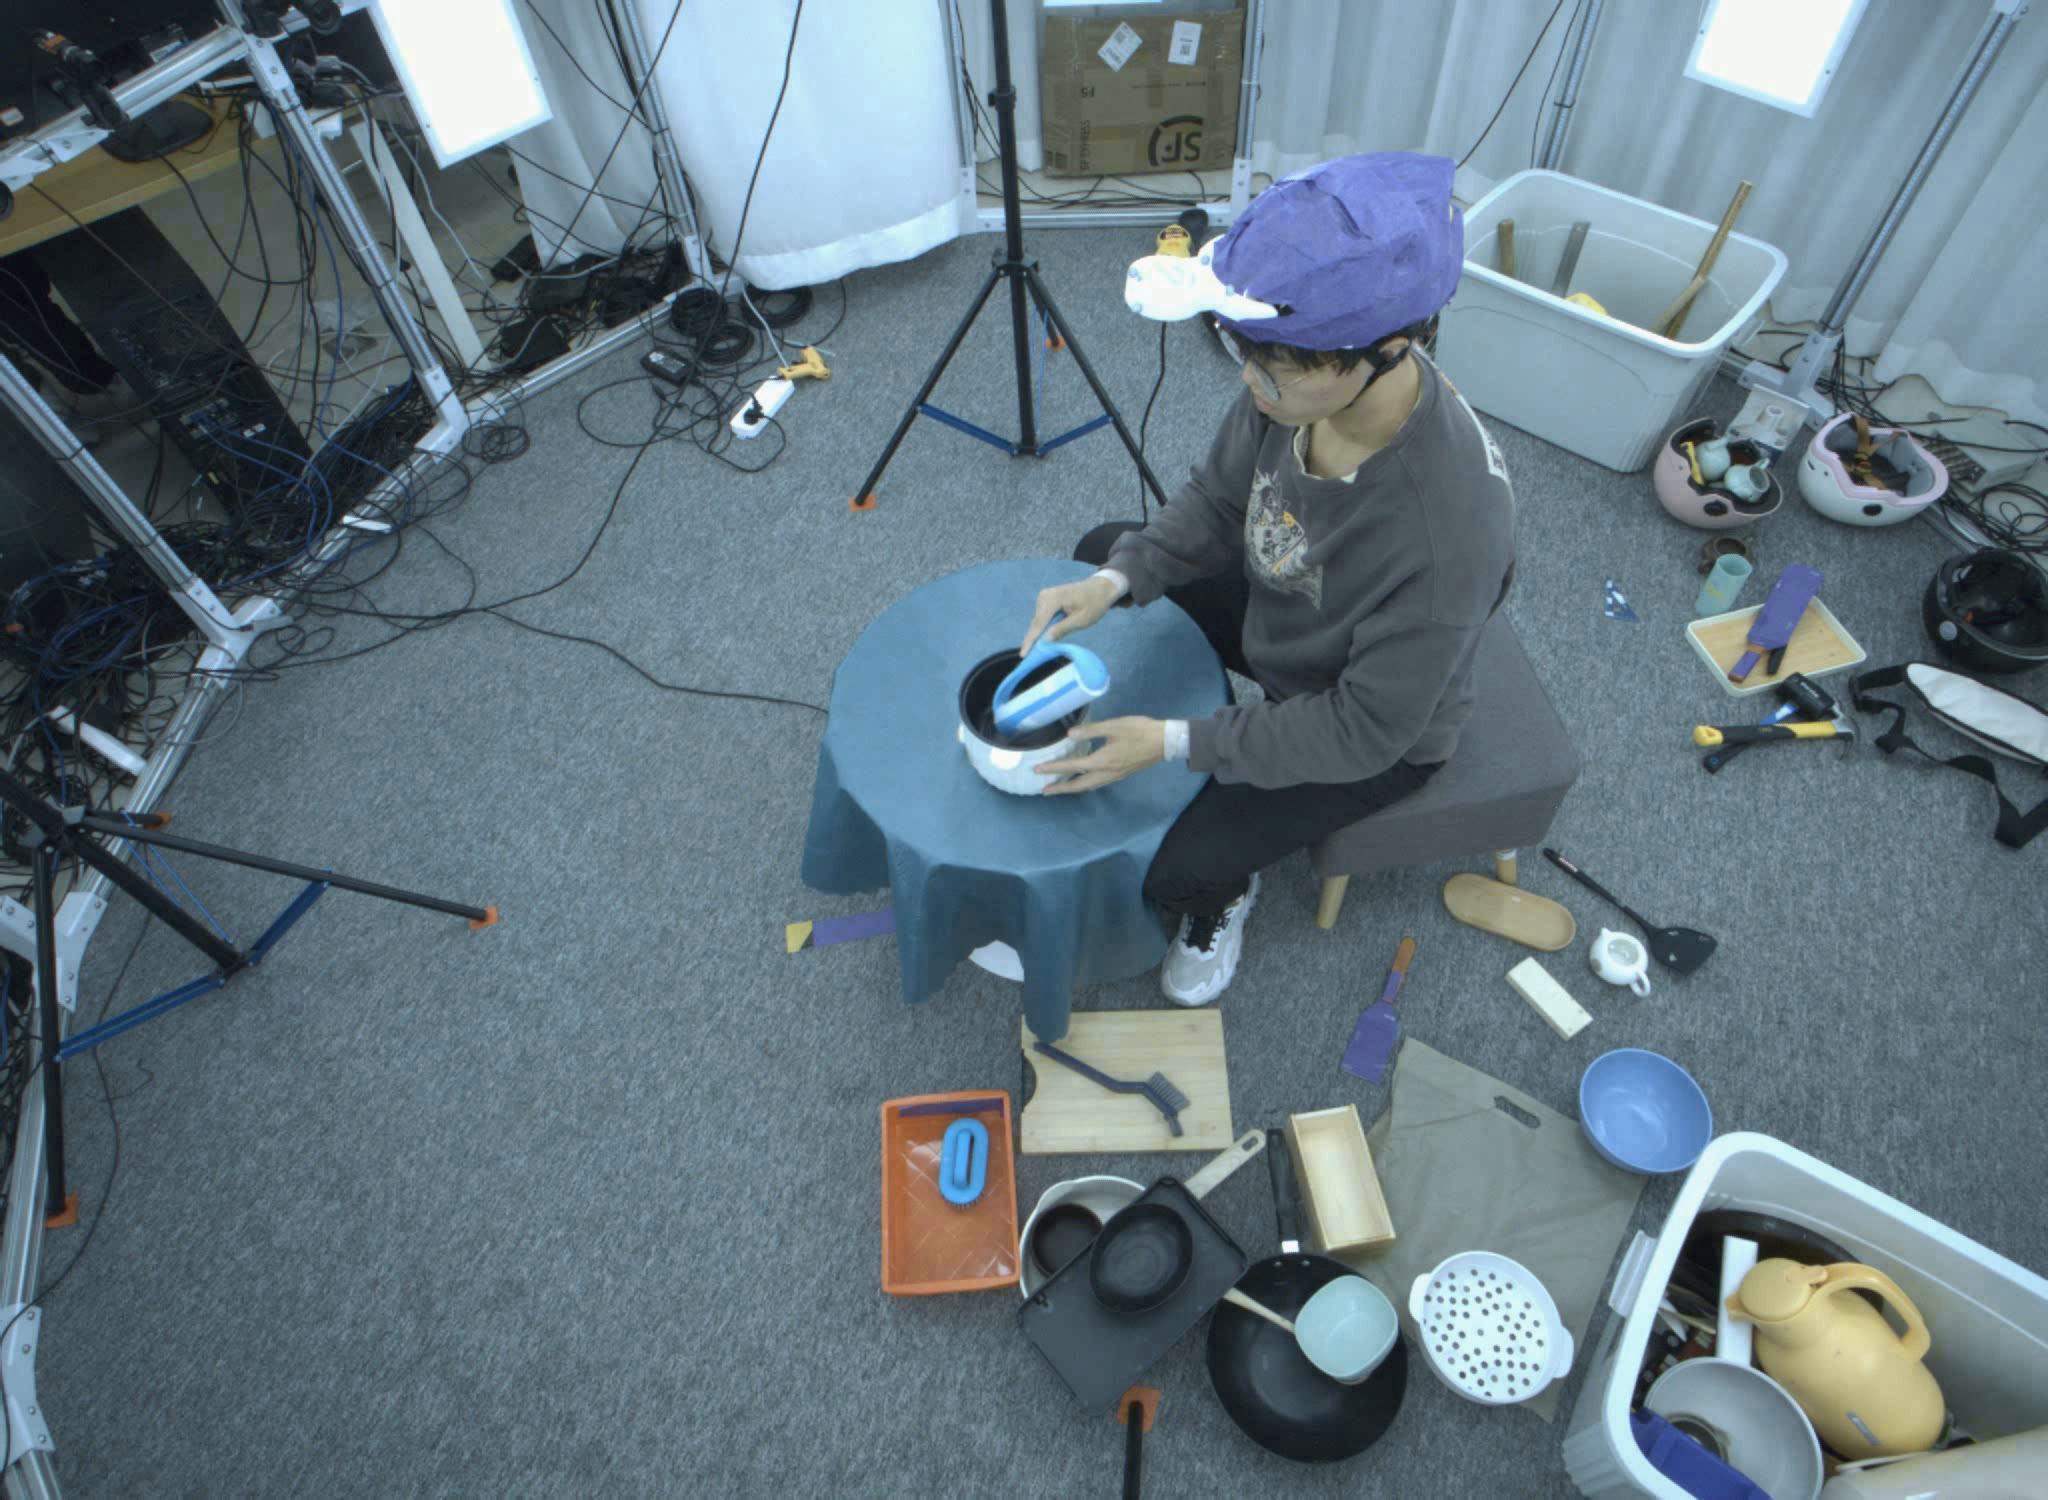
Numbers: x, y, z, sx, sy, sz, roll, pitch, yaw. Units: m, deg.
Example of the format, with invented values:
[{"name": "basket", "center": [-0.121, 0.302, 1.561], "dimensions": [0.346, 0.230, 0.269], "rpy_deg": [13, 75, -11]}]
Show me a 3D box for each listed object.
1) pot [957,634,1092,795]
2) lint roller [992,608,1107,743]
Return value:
[{"name": "pot", "center": [-0.001, -0.033, 1.722], "dimensions": [0.189, 0.144, 0.239], "rpy_deg": [11, 54, 7]}, {"name": "lint roller", "center": [0.035, -0.119, 1.651], "dimensions": [0.069, 0.226, 0.179], "rpy_deg": [17, 61, -28]}]
